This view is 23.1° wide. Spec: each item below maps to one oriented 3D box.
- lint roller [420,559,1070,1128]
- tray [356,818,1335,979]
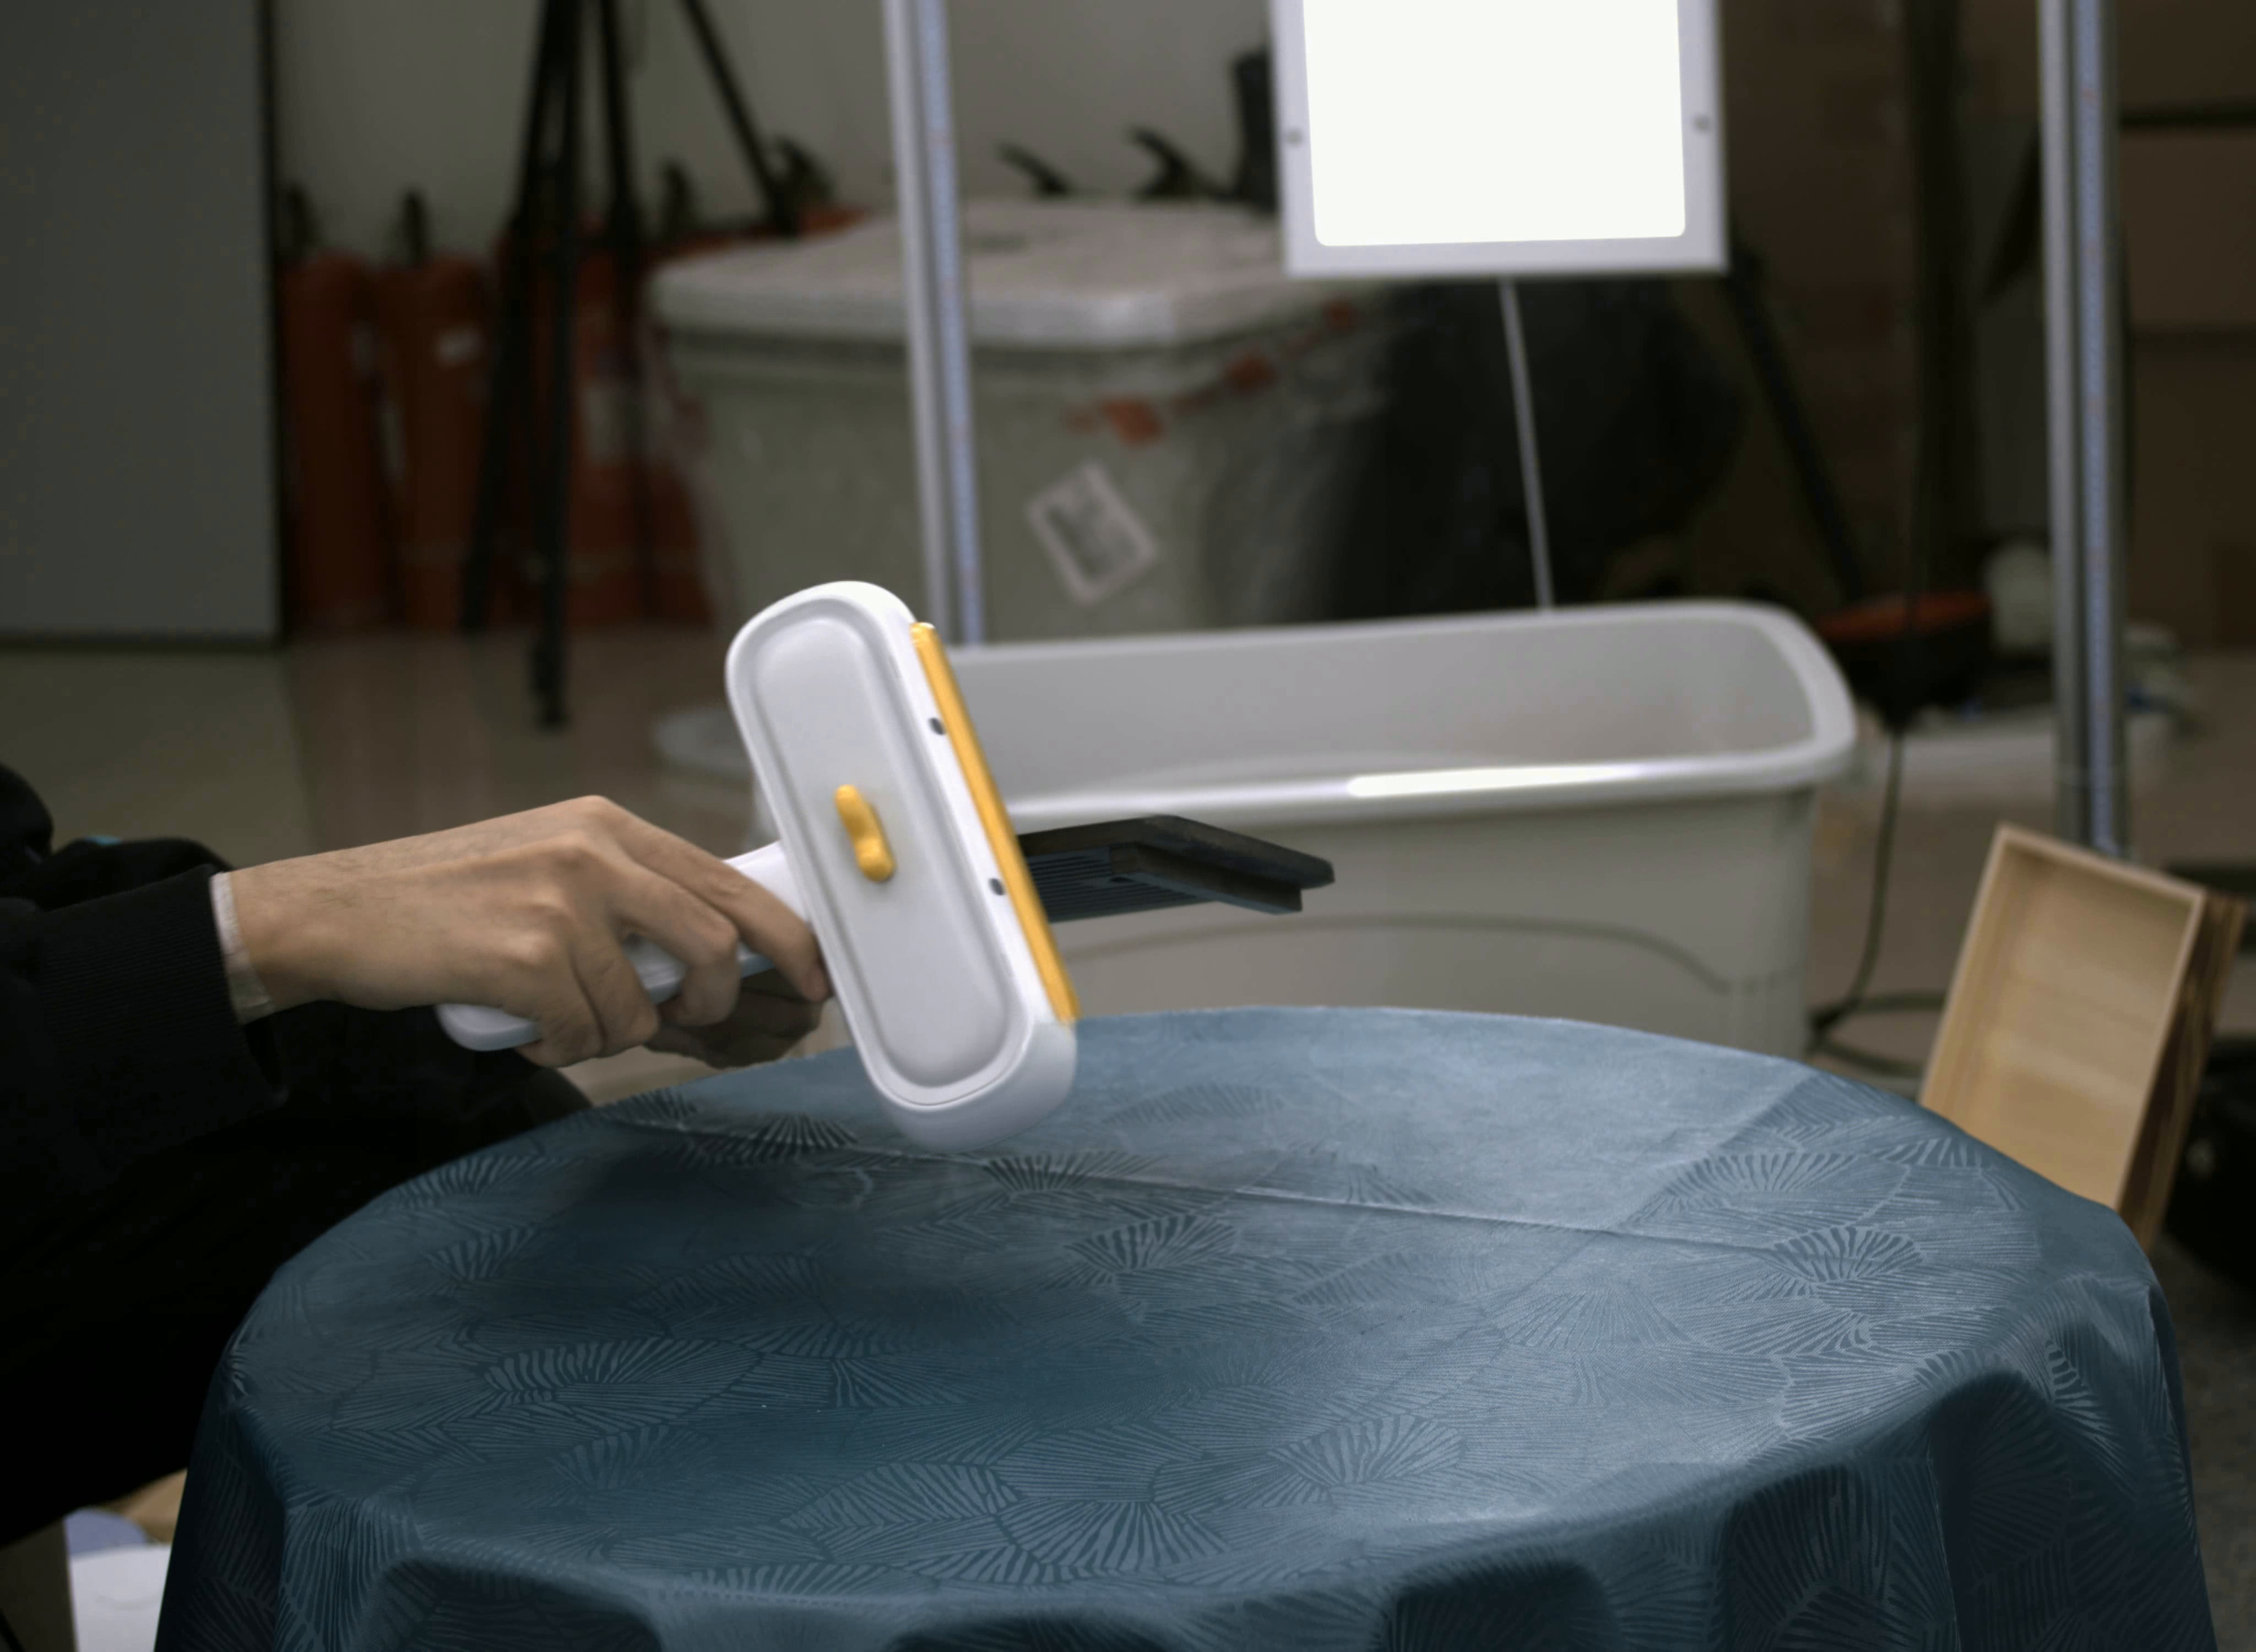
[{"bbox_3d":[-0.133,0.028,1.757,0.192,0.194,0.074,-26,-14,2],"label":"lint roller"},{"bbox_3d":[-0.095,0.032,1.890,0.311,0.018,0.167,-8,-9,23],"label":"tray"}]
